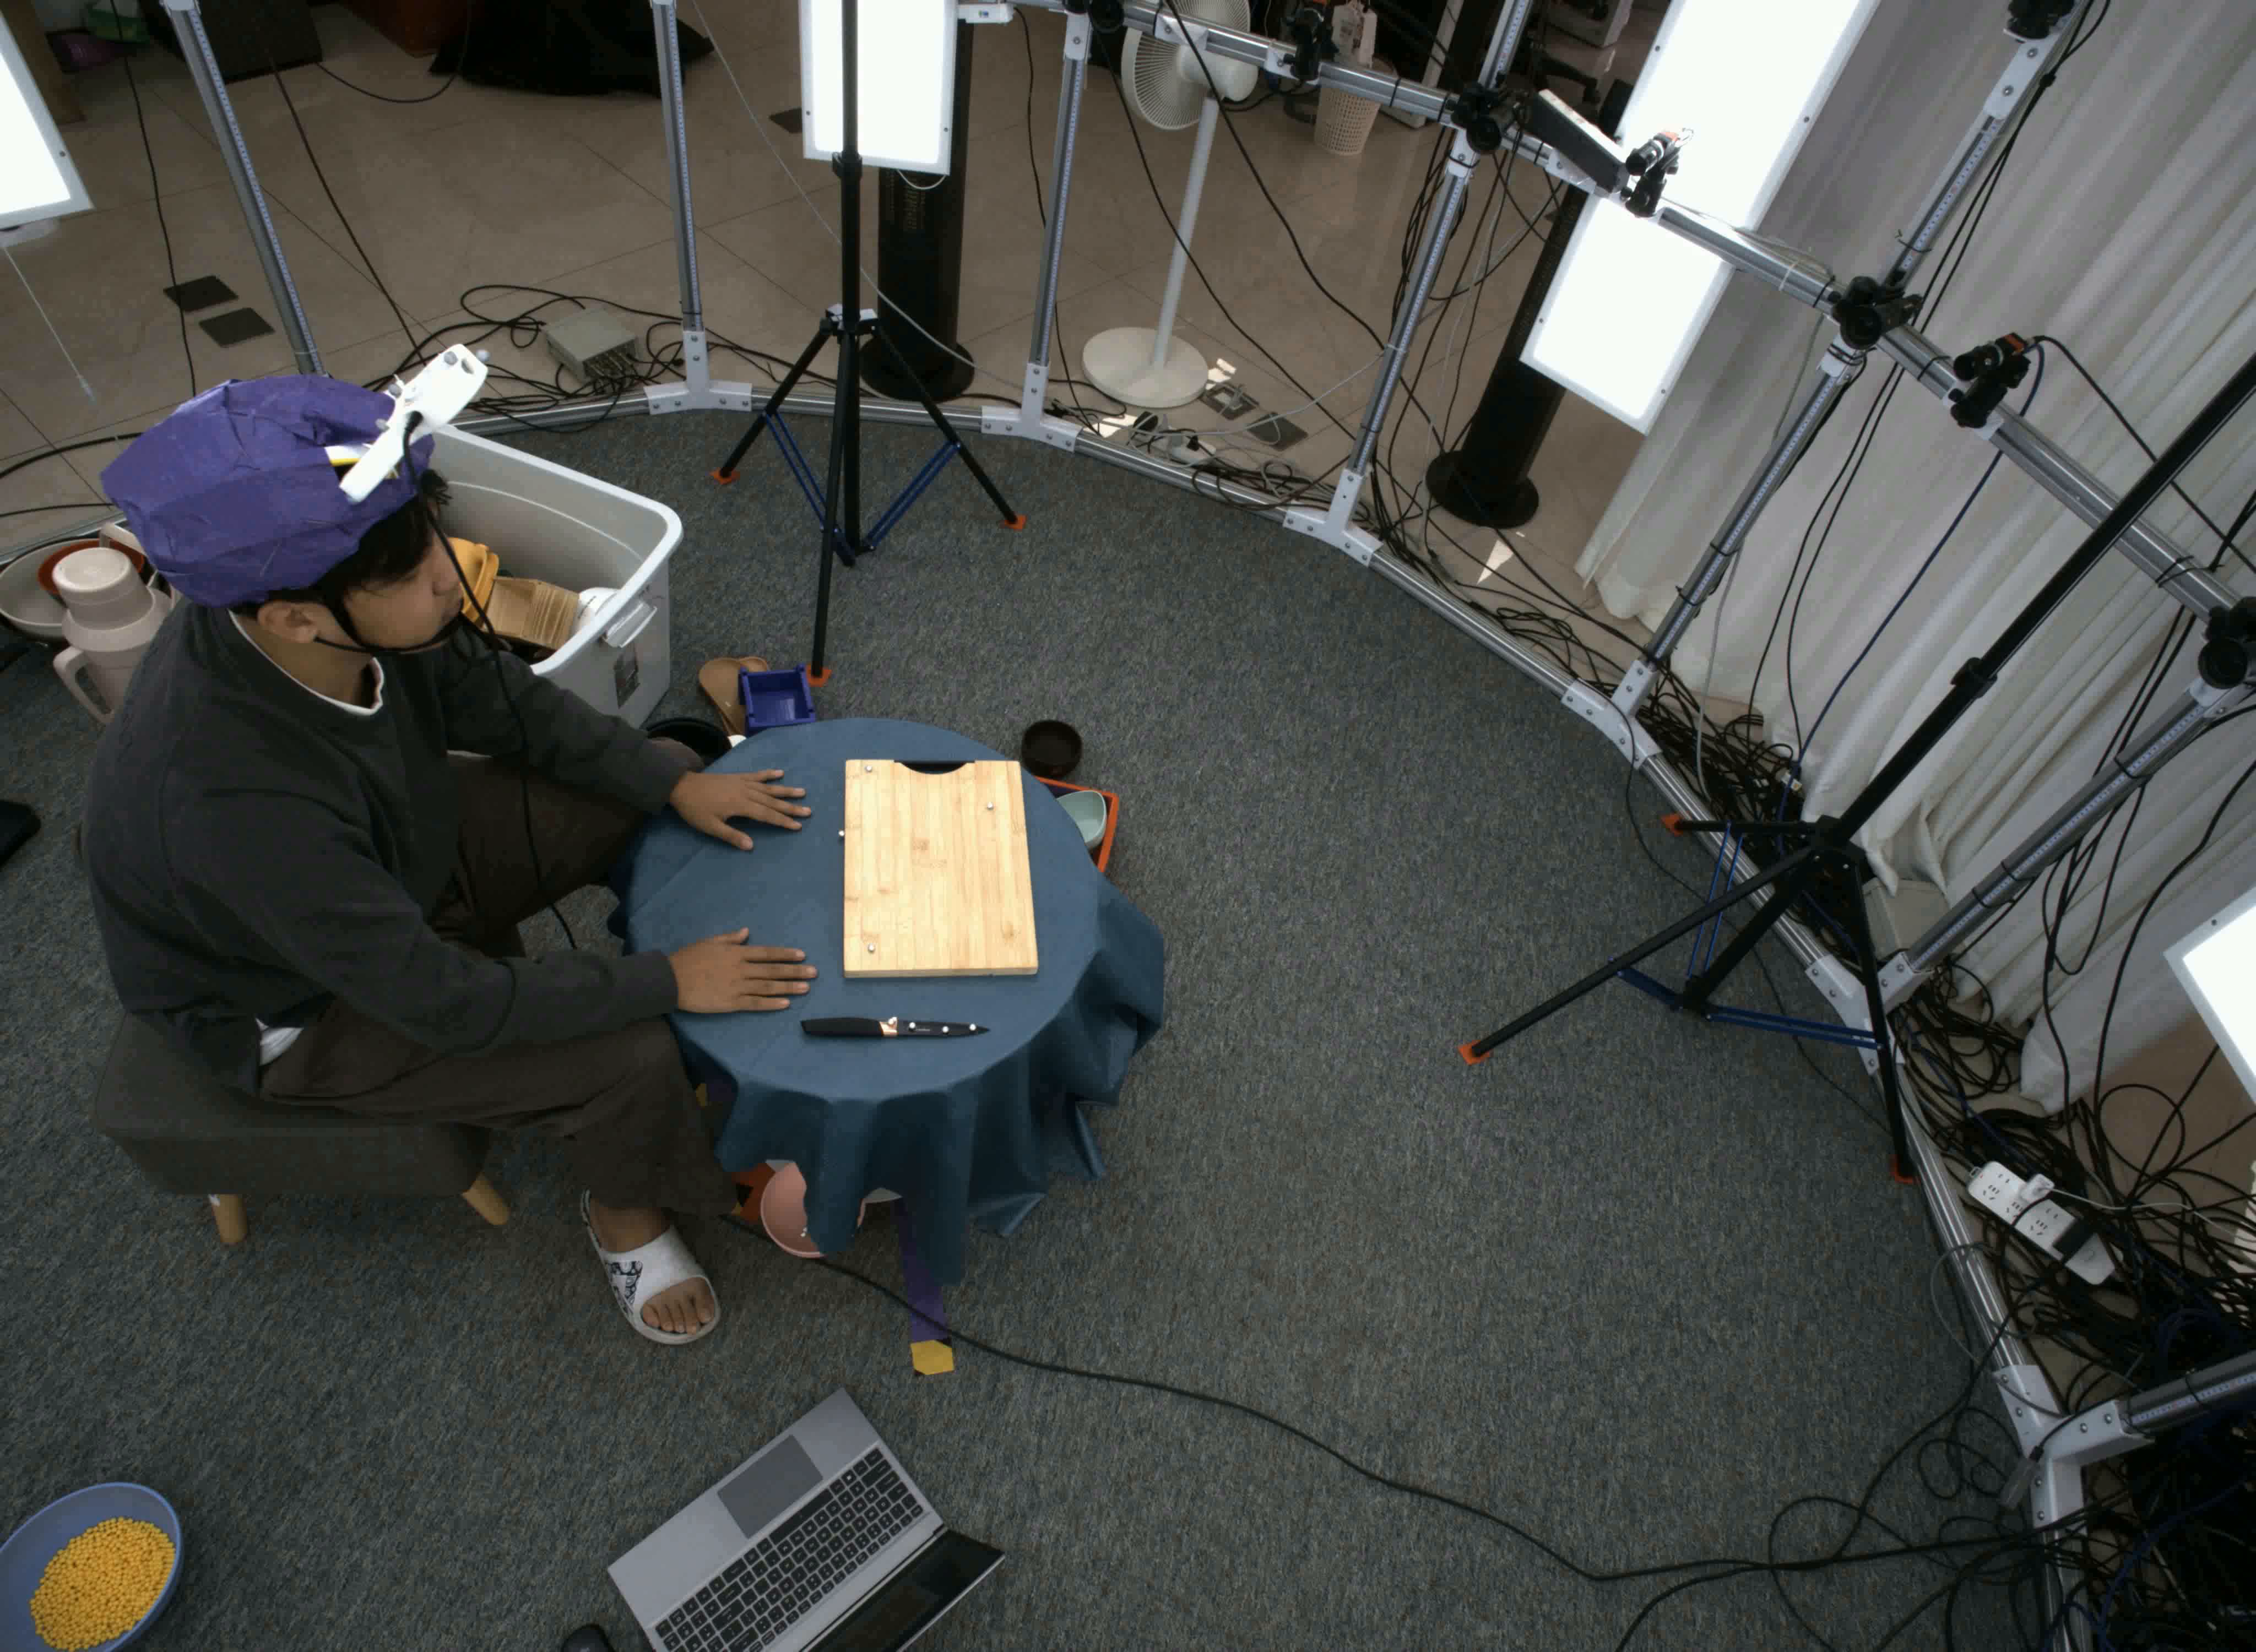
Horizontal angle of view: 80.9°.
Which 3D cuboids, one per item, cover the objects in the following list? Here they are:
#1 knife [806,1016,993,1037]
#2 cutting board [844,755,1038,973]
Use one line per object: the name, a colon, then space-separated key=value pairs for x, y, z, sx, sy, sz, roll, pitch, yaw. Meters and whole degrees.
knife: x=-0.274 y=0.240 z=1.572 sx=0.226 sy=0.017 sz=0.025 roll=2 pitch=45 yaw=-14
cutting board: x=-0.250 y=0.044 z=1.721 sx=0.251 sy=0.024 sz=0.341 roll=0 pitch=54 yaw=-14
